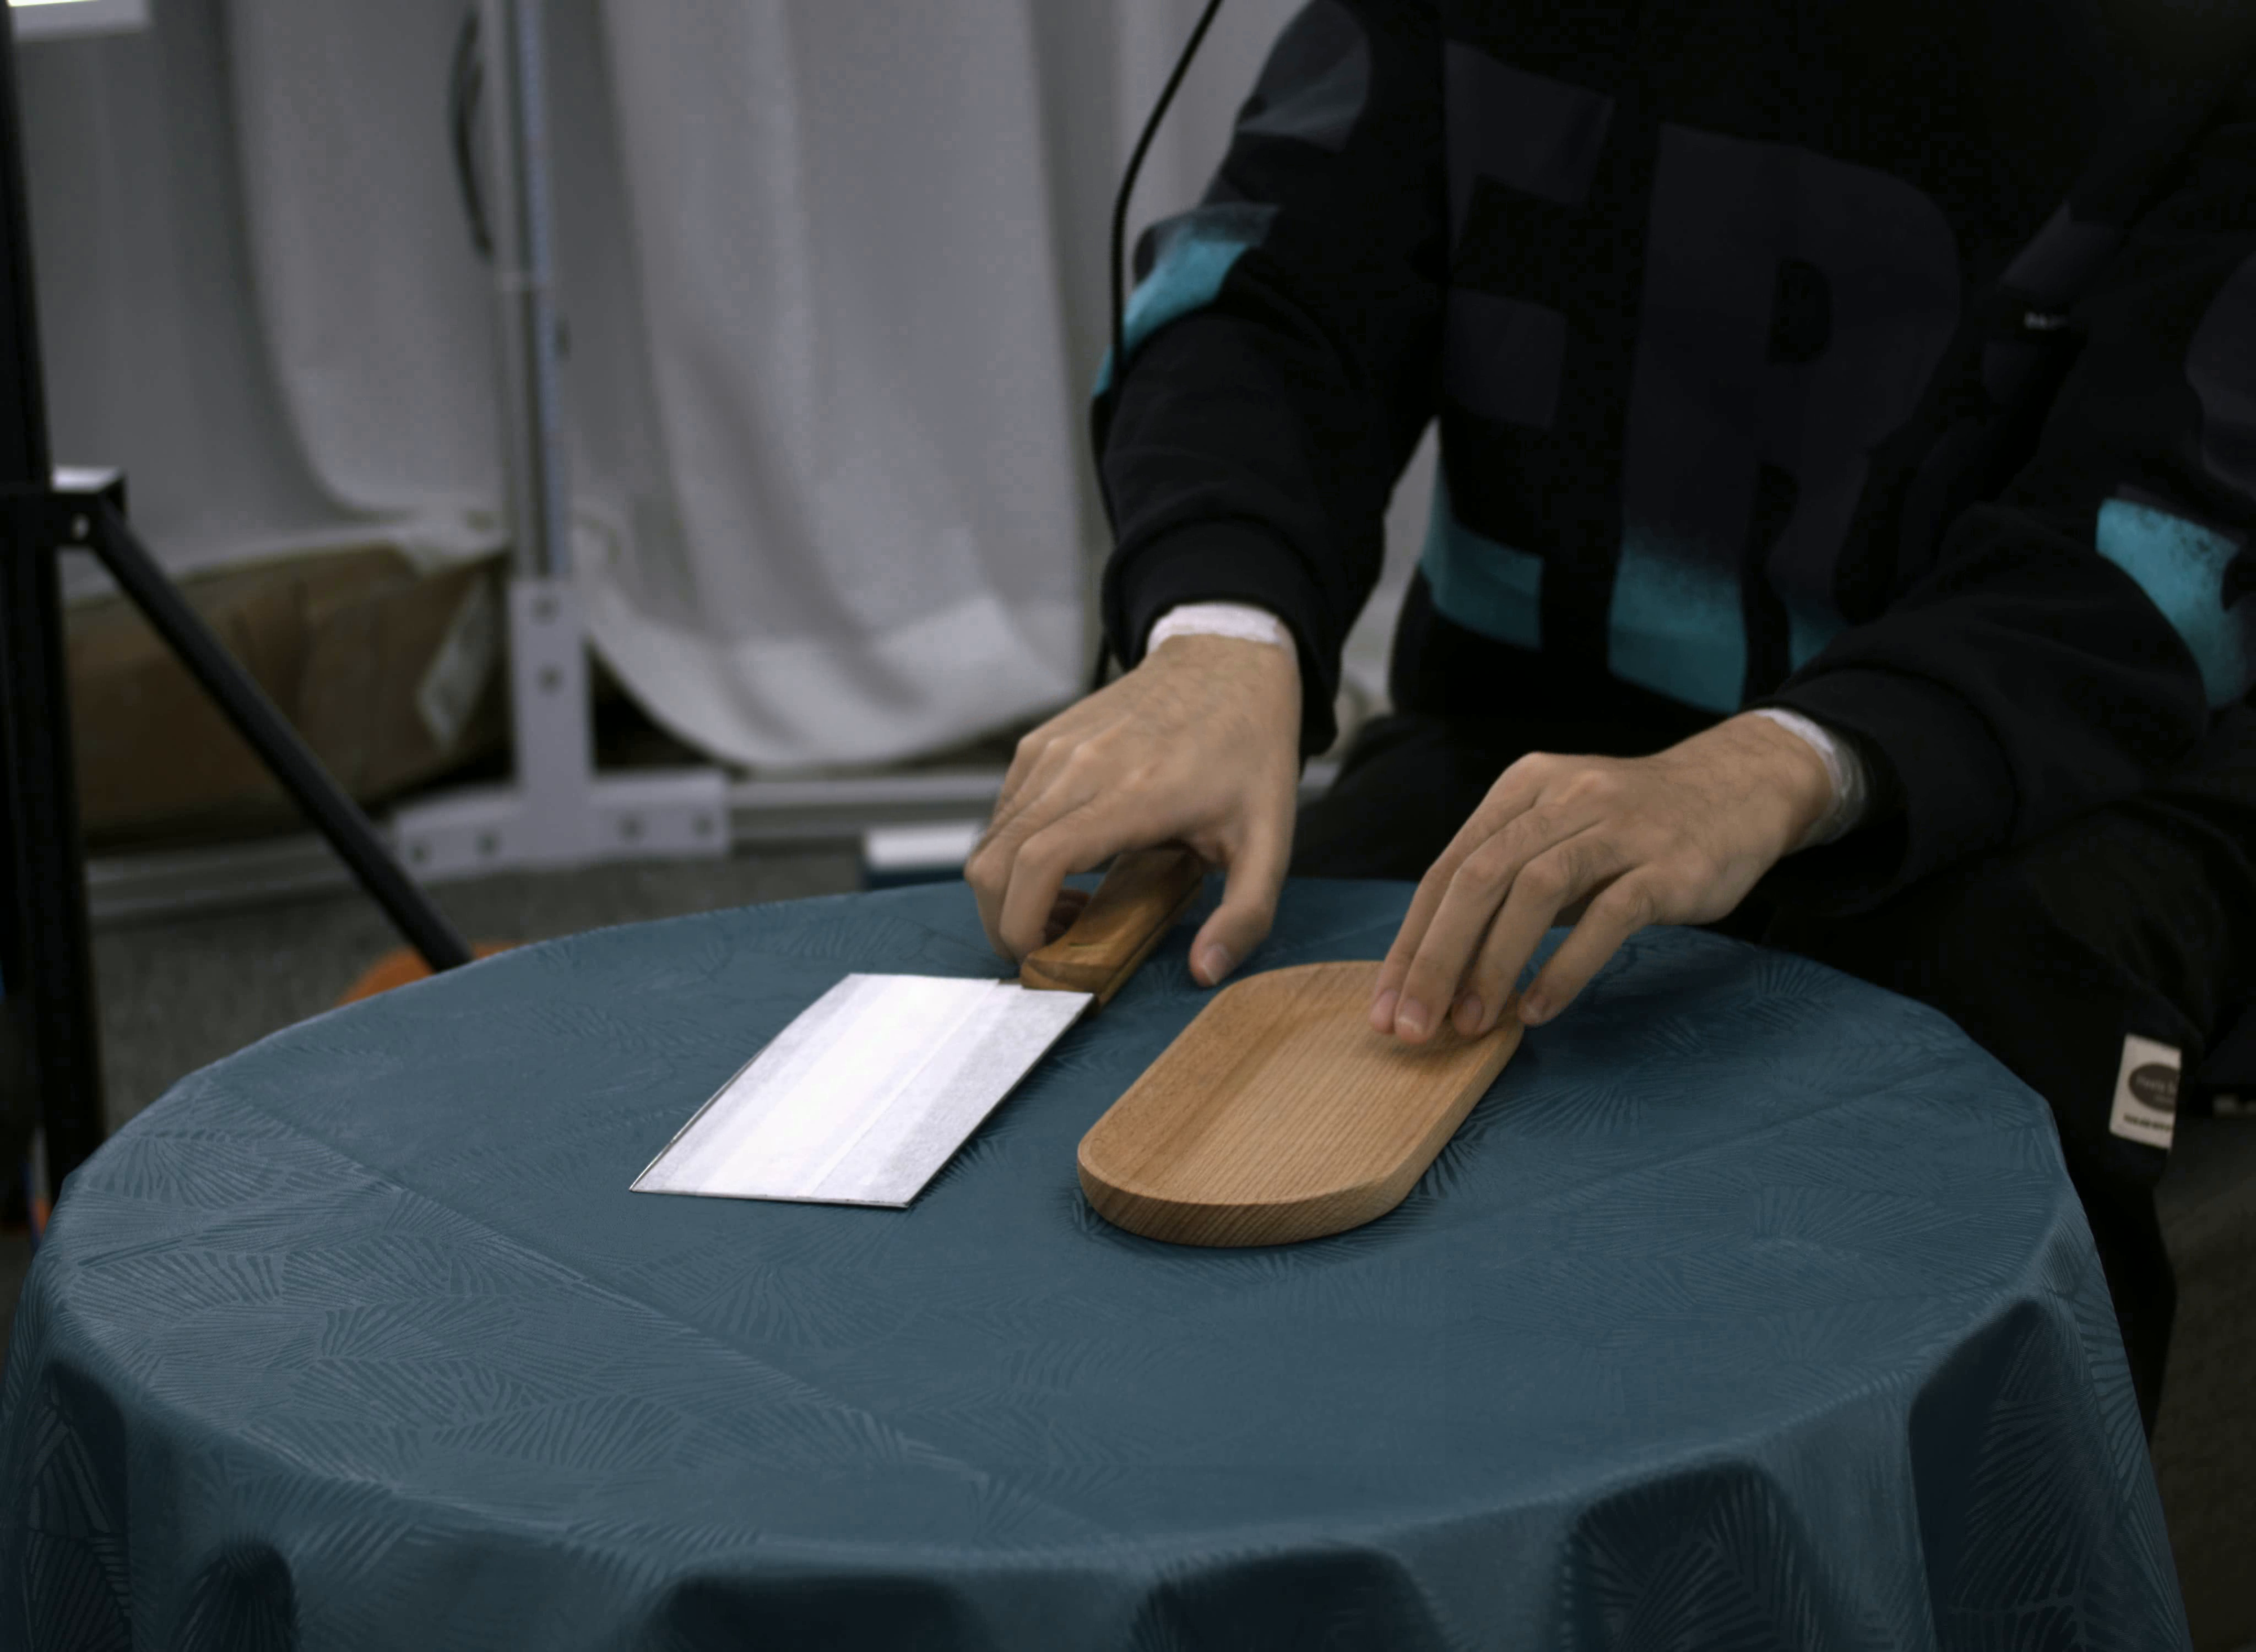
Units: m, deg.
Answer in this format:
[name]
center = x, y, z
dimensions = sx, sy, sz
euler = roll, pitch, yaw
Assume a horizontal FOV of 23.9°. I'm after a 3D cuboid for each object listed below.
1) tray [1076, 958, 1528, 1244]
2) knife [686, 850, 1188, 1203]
[tray]
center = 0.056, 0.081, 1.612
dimensions = 0.103, 0.020, 0.228
euler = 4, 16, 18
[knife]
center = -0.059, 0.062, 1.701
dimensions = 0.094, 0.021, 0.303
euler = 1, 18, 18
